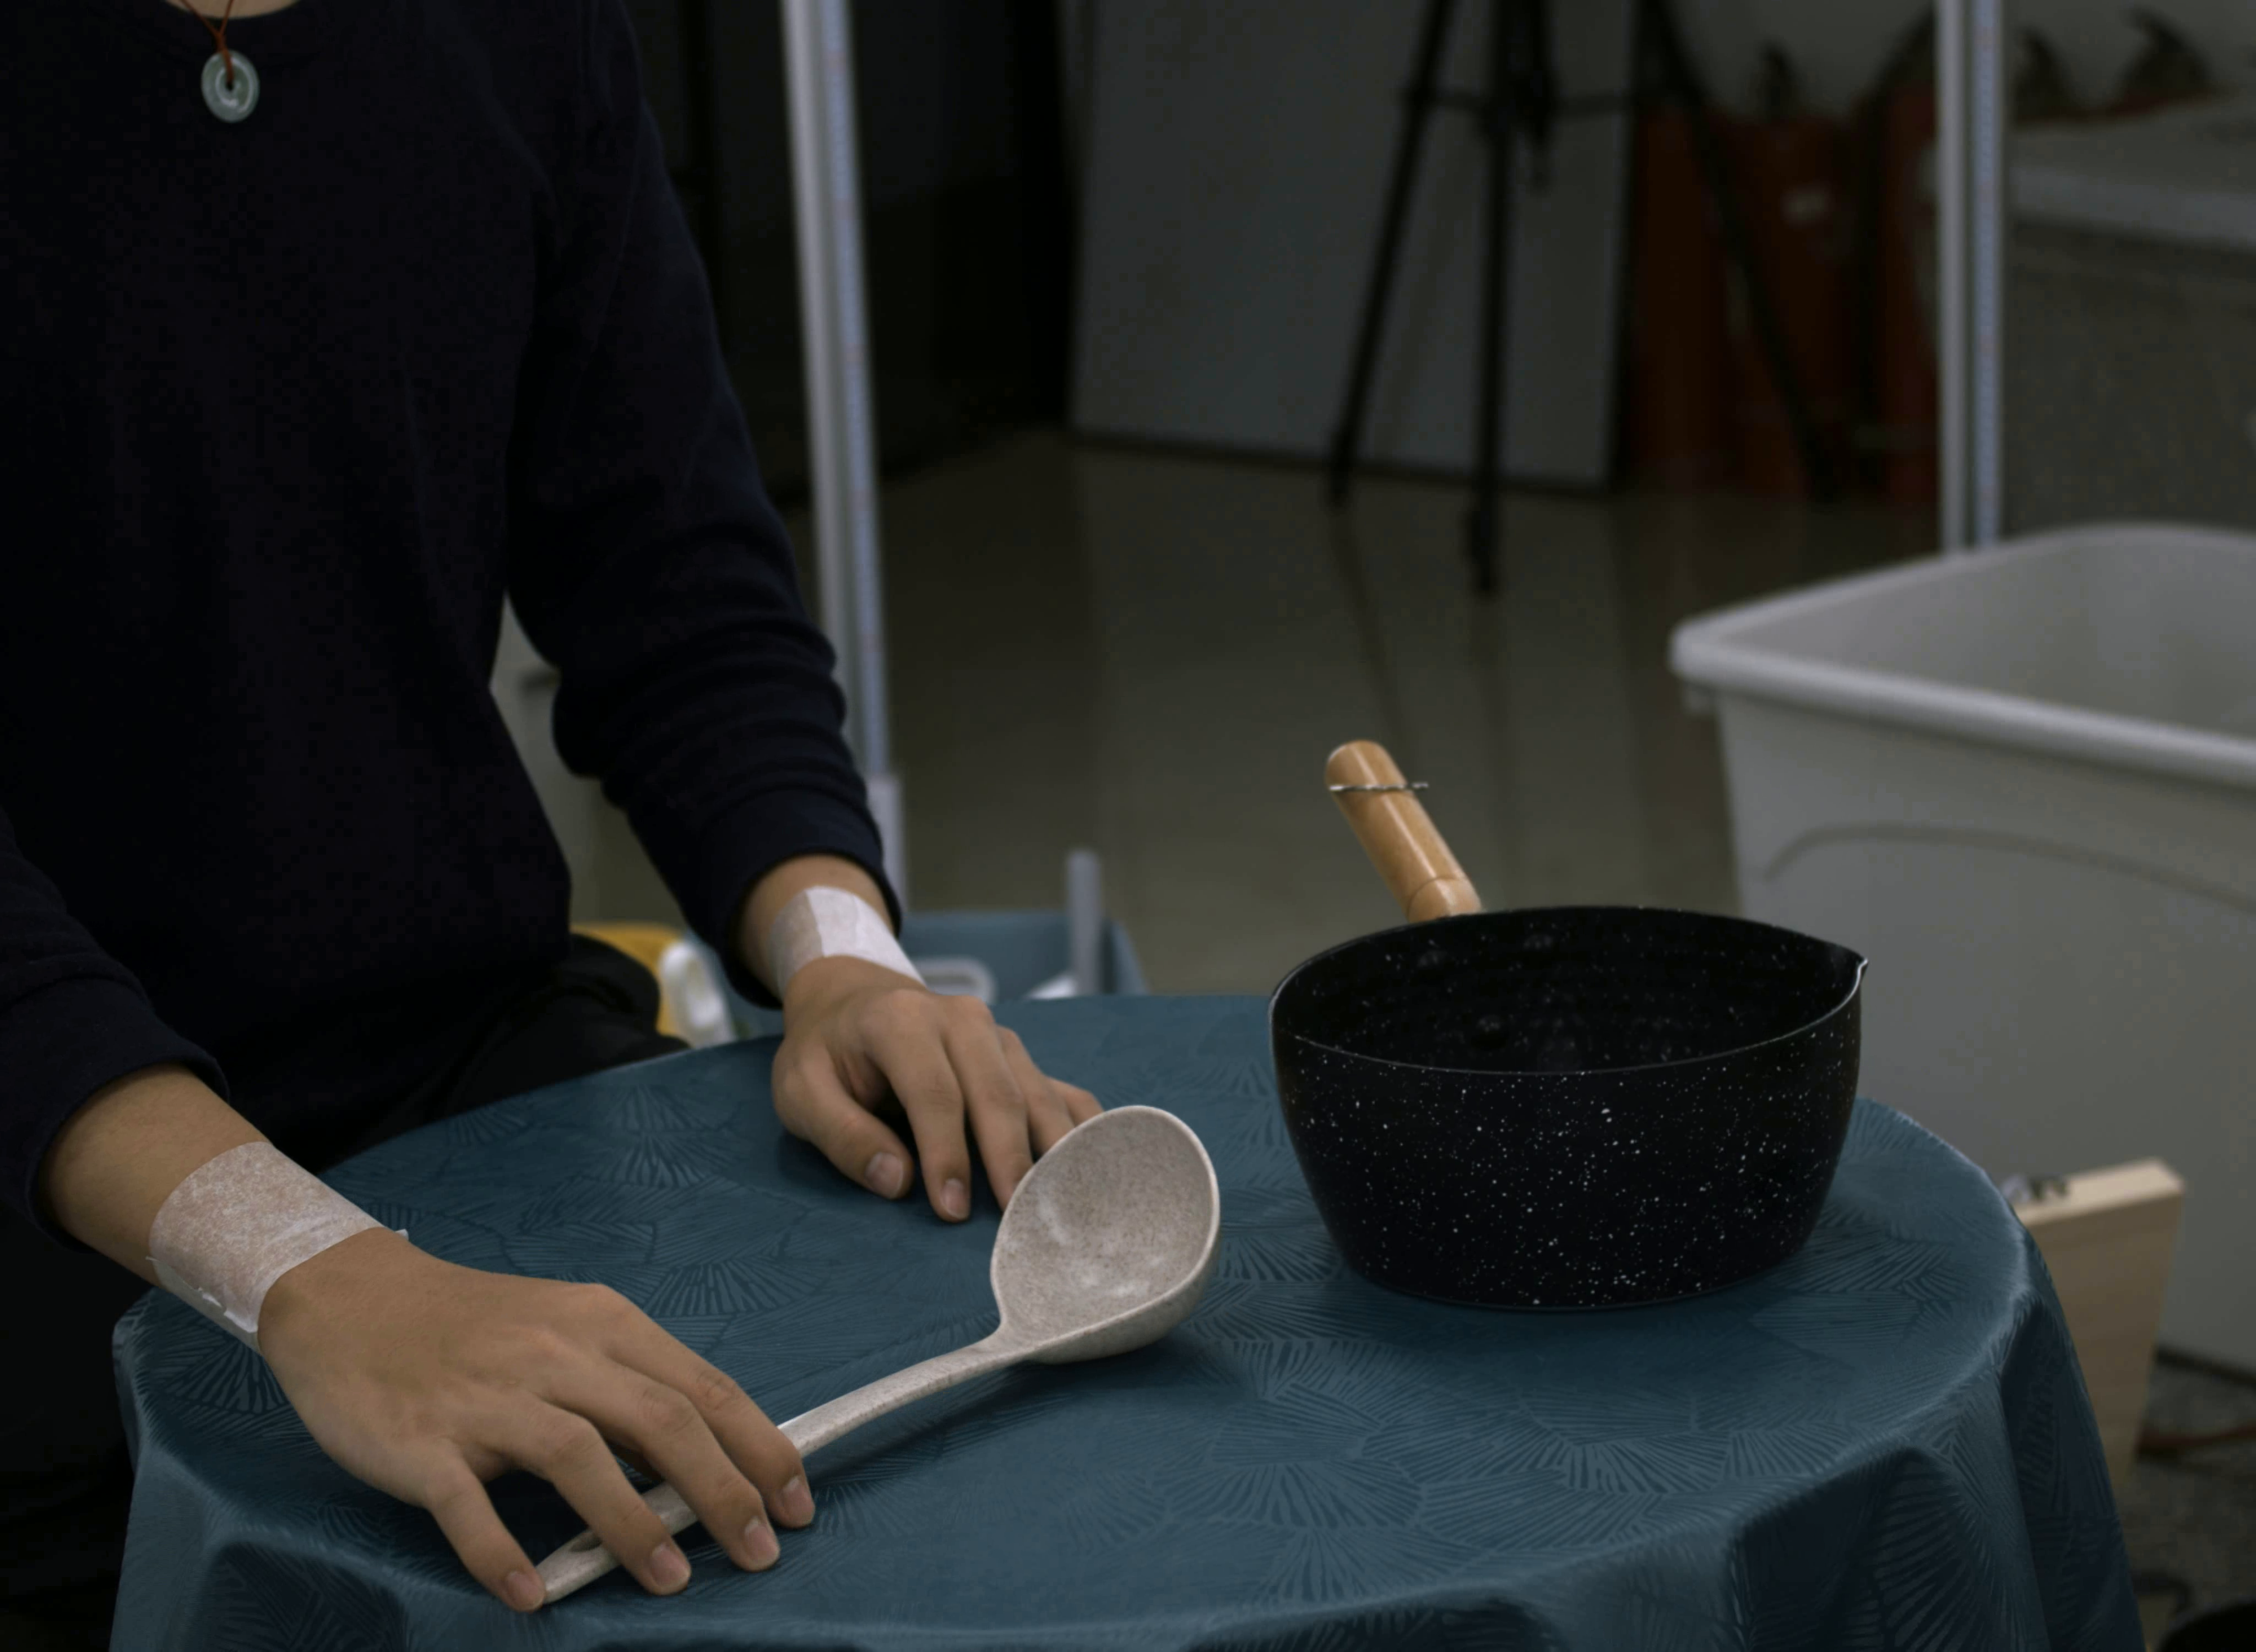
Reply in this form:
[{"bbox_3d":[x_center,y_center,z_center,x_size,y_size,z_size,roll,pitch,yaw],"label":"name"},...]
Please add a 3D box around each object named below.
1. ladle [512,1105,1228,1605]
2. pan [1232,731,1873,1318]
[{"bbox_3d":[-0.076,0.147,1.544,0.090,0.070,0.269,6,16,42],"label":"ladle"},{"bbox_3d":[0.118,0.059,1.758,0.204,0.109,0.345,-8,16,-12],"label":"pan"}]
